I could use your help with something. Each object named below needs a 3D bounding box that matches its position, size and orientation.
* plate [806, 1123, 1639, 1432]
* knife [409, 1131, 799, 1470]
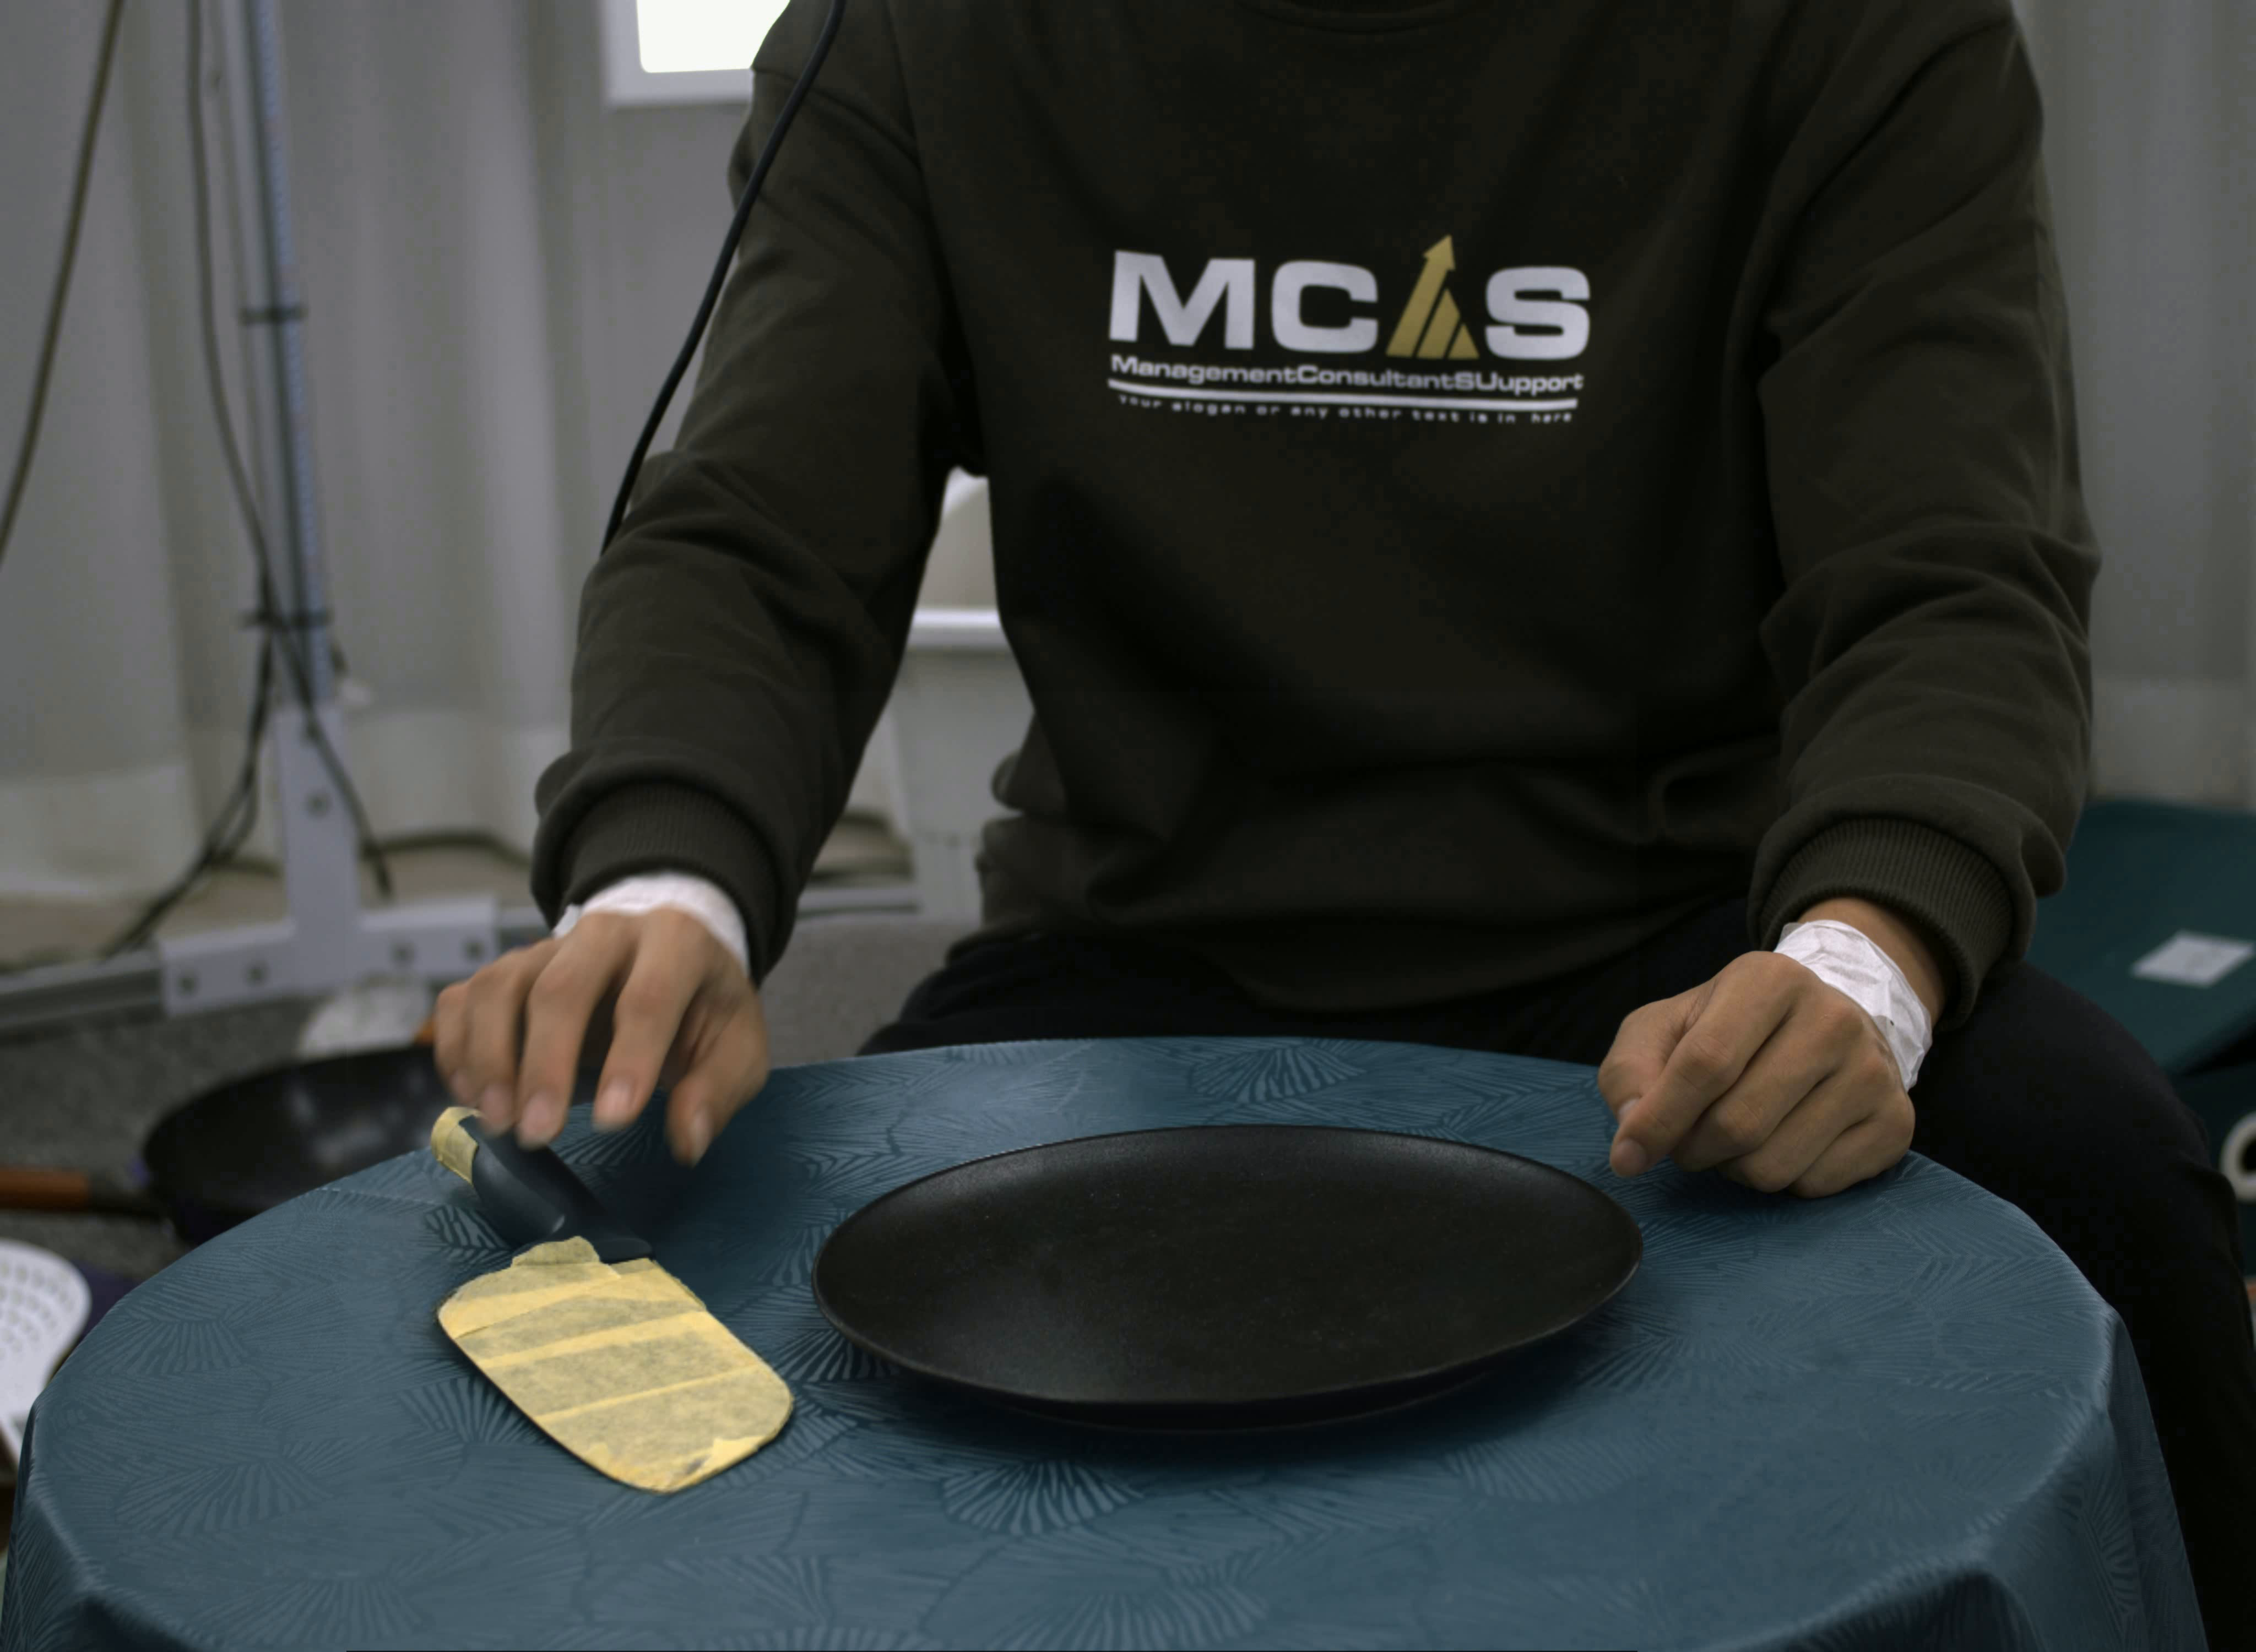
[{"bbox_3d":[0.028,0.134,1.594,0.243,0.023,0.246,-3,15,0],"label":"plate"},{"bbox_3d":[-0.170,0.141,1.621,0.080,0.027,0.292,-7,16,-22],"label":"knife"}]
